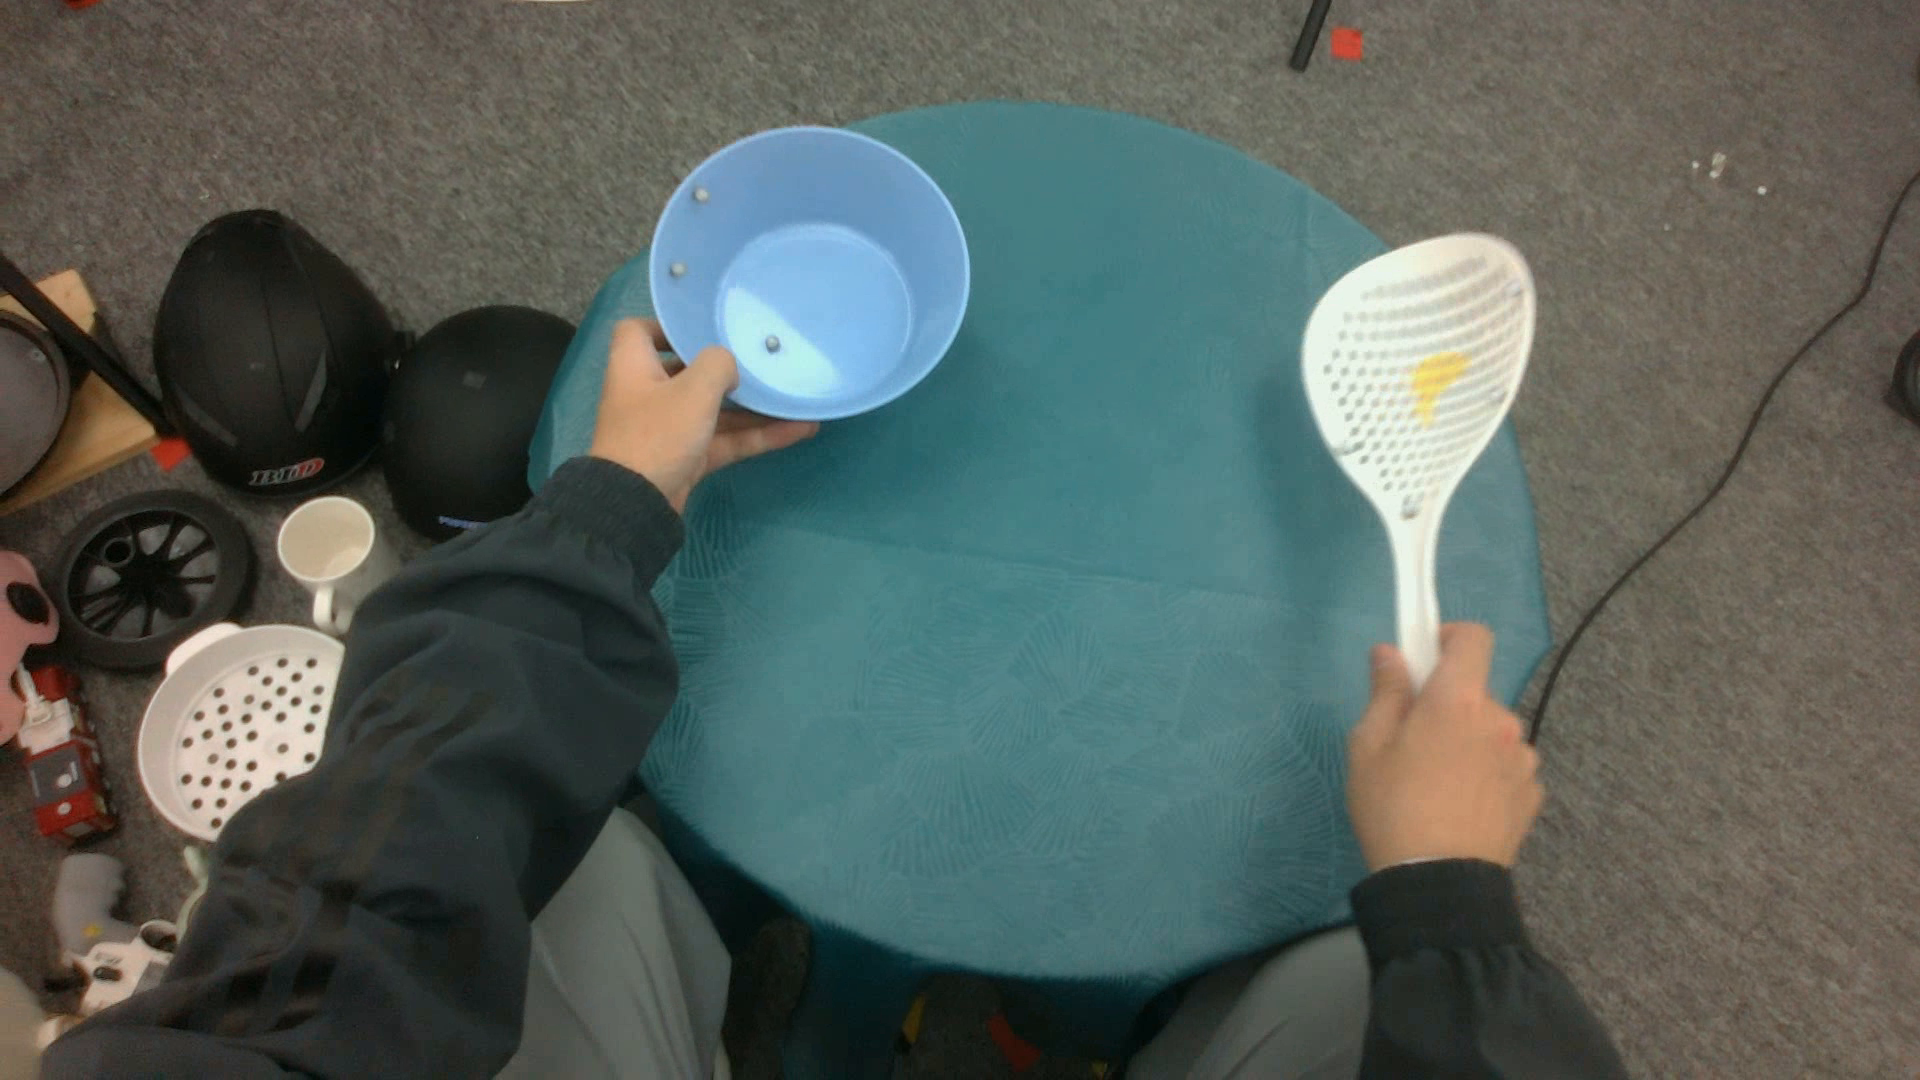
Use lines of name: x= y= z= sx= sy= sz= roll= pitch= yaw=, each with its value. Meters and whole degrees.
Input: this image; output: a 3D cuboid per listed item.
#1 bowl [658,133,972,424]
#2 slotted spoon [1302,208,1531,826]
bowl: x=-0.082 y=-0.142 z=0.801 sx=0.176 sy=0.070 sz=0.176 roll=1 pitch=77 yaw=-4
slotted spoon: x=0.257 y=-0.022 z=0.752 sx=0.136 sy=0.050 sz=0.349 roll=-15 pitch=58 yaw=40
